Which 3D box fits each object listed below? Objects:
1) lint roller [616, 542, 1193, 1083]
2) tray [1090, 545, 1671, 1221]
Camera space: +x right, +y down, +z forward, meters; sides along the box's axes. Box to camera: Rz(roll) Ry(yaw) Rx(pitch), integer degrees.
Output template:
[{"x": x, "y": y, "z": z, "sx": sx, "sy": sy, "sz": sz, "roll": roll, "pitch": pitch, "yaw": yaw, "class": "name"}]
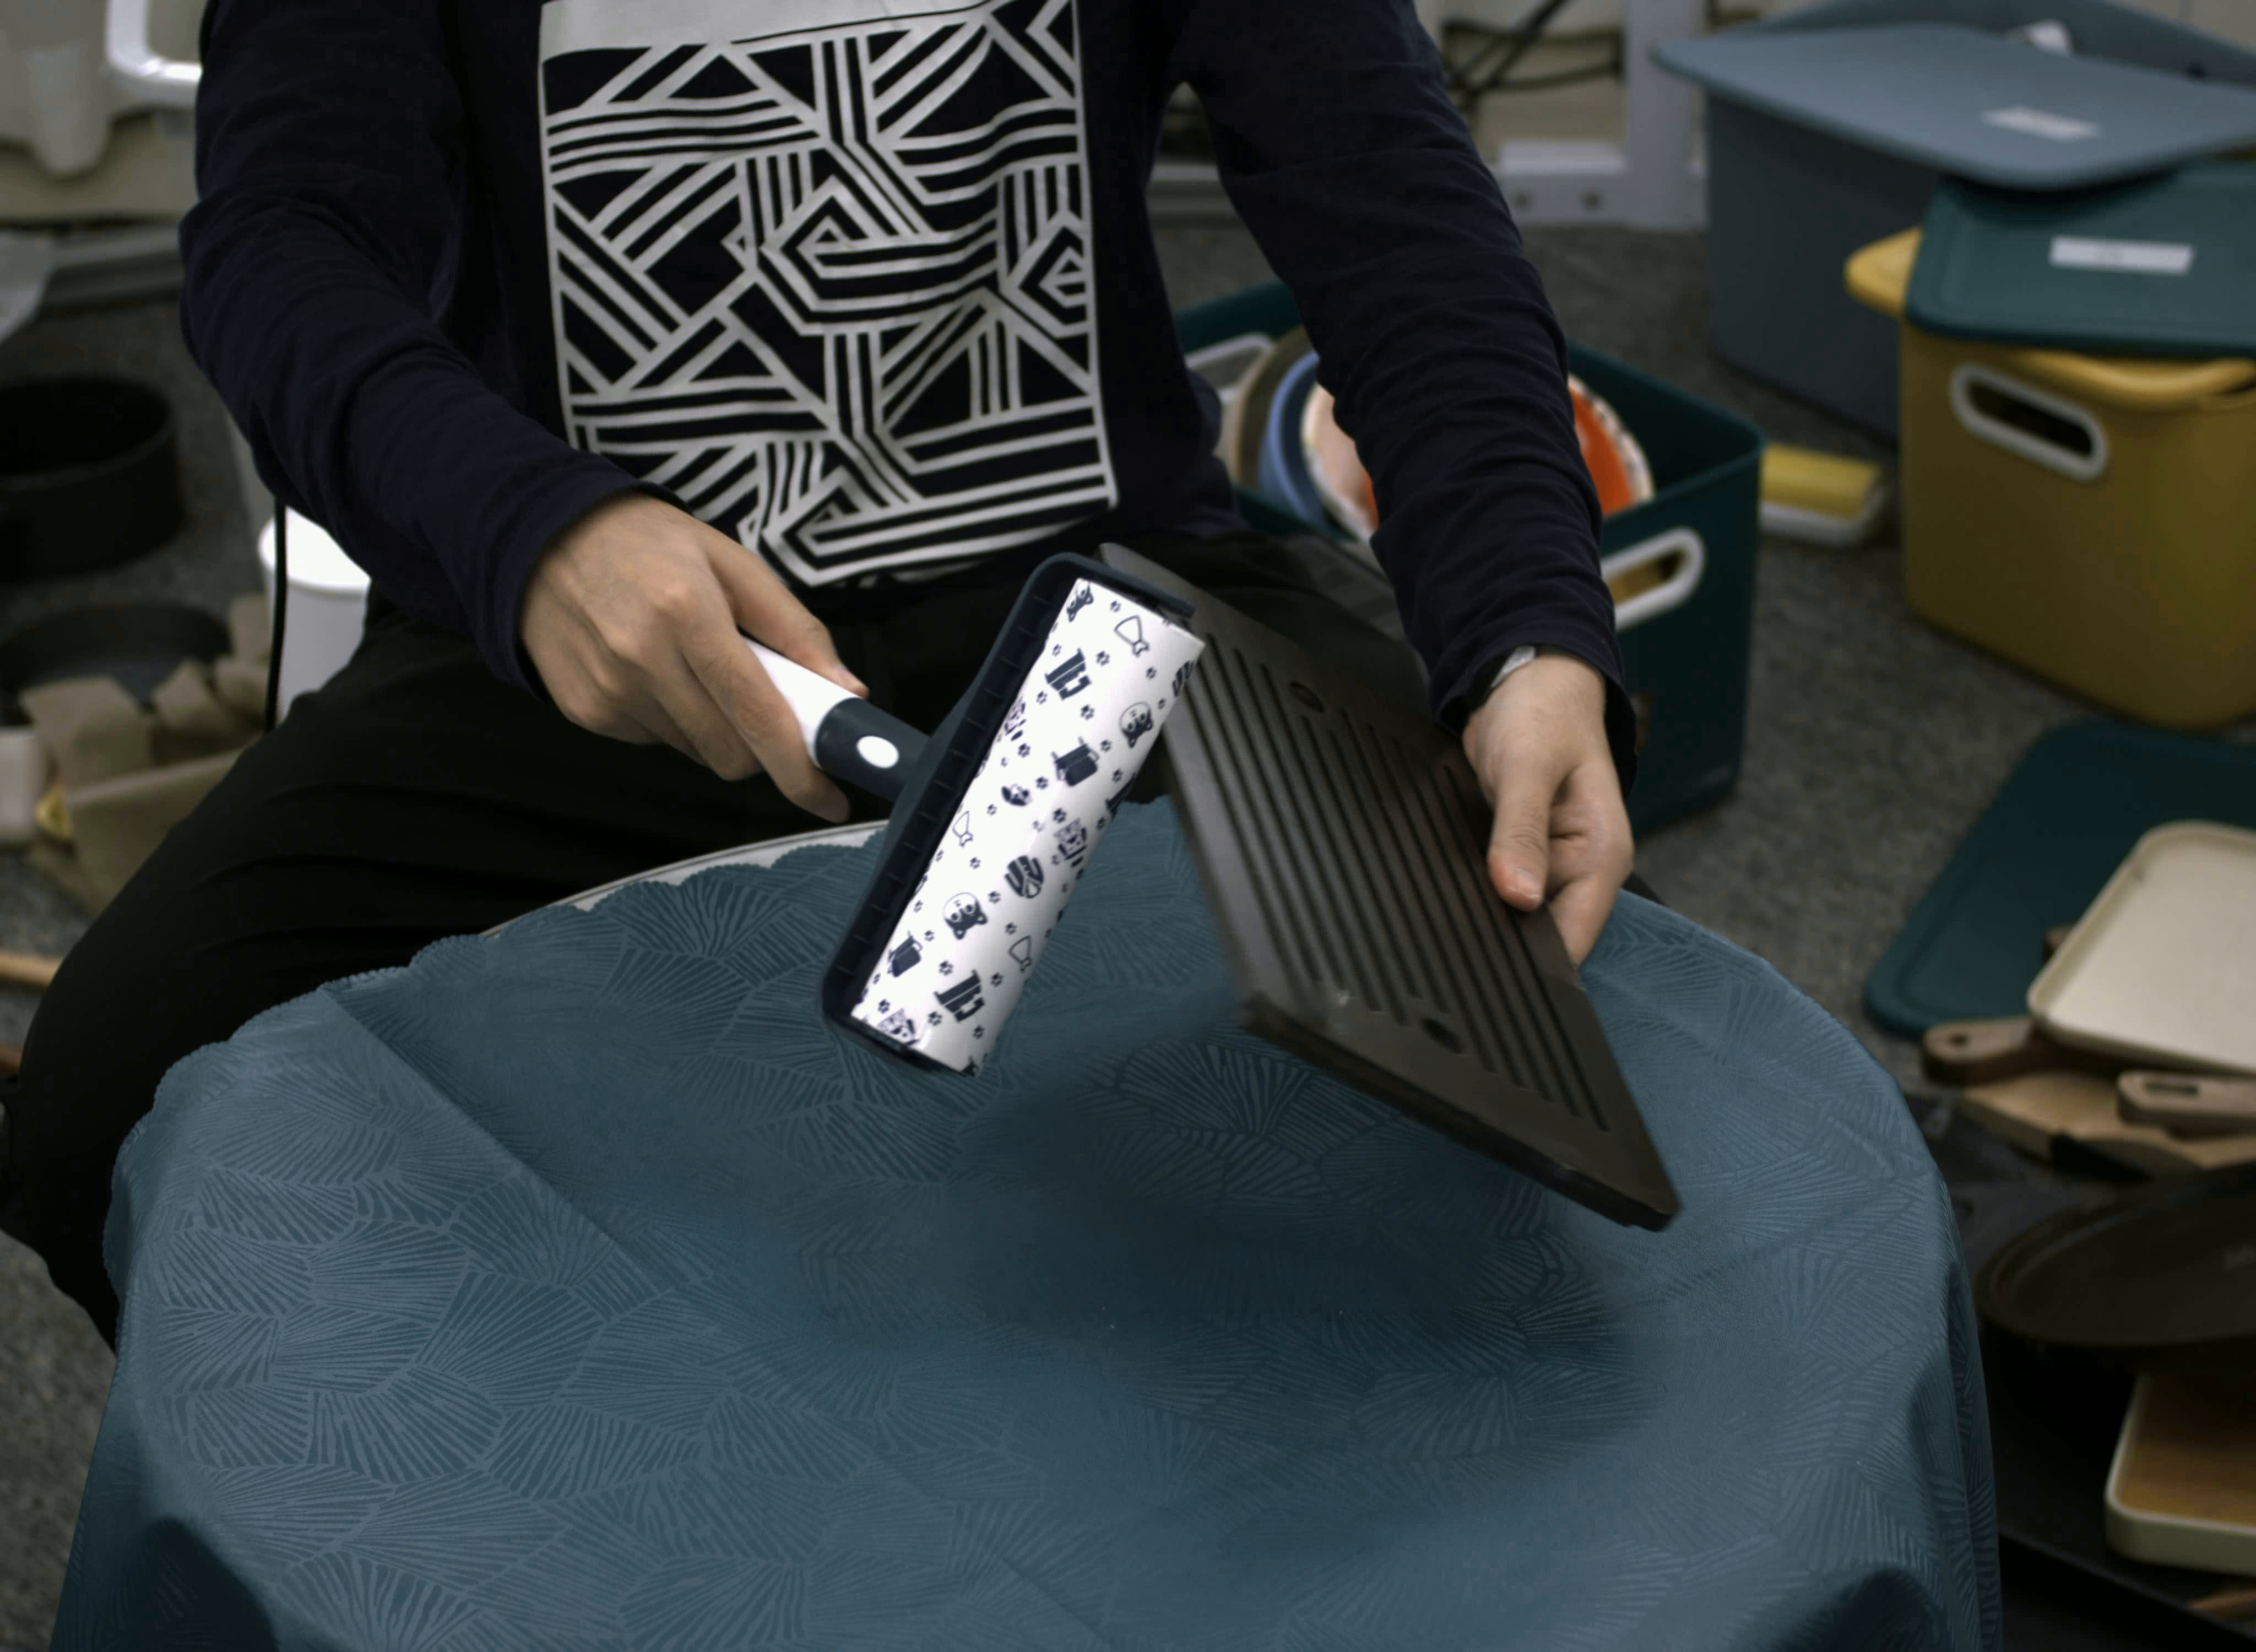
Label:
[{"x": -0.099, "y": -0.032, "z": 1.873, "sx": 0.247, "sy": 0.177, "sz": 0.050, "roll": 24, "pitch": -4, "yaw": 43, "class": "lint roller"}, {"x": 0.075, "y": 0.016, "z": 1.843, "sx": 0.169, "sy": 0.018, "sz": 0.310, "roll": 28, "pitch": 21, "yaw": -23, "class": "tray"}]
